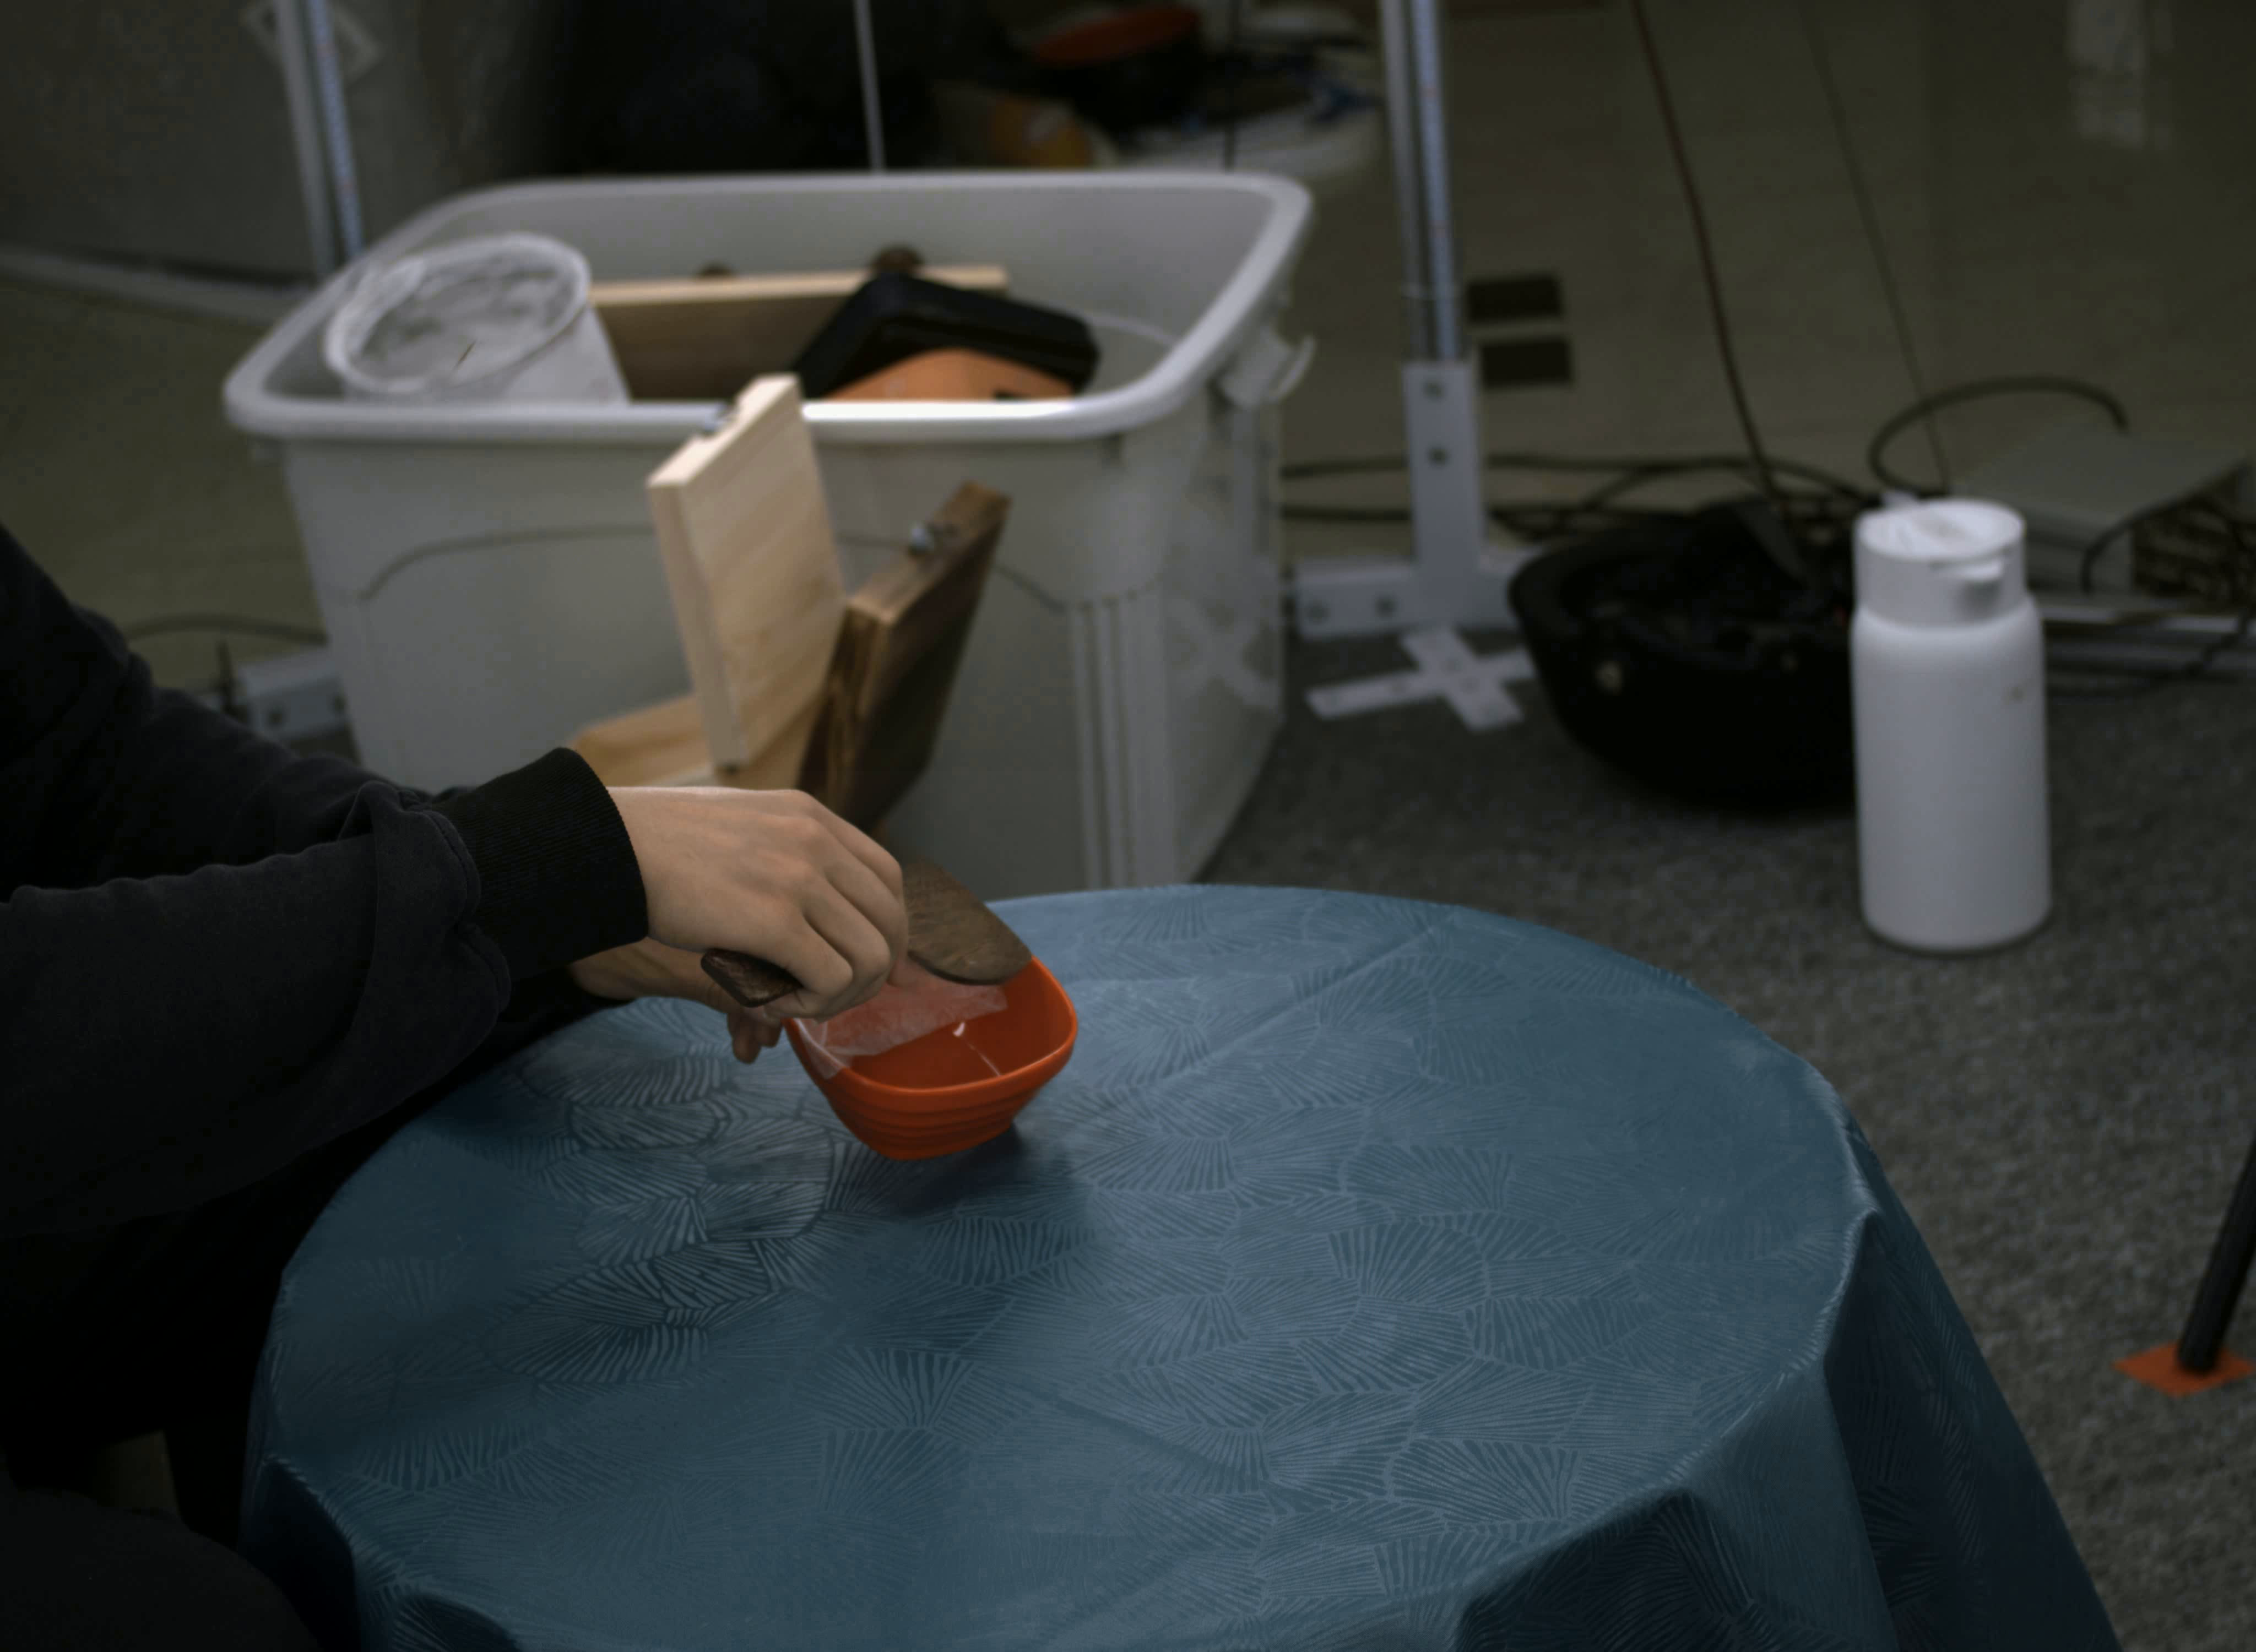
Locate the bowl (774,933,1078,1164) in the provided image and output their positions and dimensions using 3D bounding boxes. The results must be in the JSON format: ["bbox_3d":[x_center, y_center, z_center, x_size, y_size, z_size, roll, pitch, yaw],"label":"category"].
[{"bbox_3d":[-0.080,0.089,2.201,0.119,0.052,0.117,6,36,-4],"label":"bowl"}]

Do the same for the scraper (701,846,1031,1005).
[{"bbox_3d":[-0.104,0.044,2.130,0.075,0.011,0.210,41,20,14],"label":"scraper"}]
